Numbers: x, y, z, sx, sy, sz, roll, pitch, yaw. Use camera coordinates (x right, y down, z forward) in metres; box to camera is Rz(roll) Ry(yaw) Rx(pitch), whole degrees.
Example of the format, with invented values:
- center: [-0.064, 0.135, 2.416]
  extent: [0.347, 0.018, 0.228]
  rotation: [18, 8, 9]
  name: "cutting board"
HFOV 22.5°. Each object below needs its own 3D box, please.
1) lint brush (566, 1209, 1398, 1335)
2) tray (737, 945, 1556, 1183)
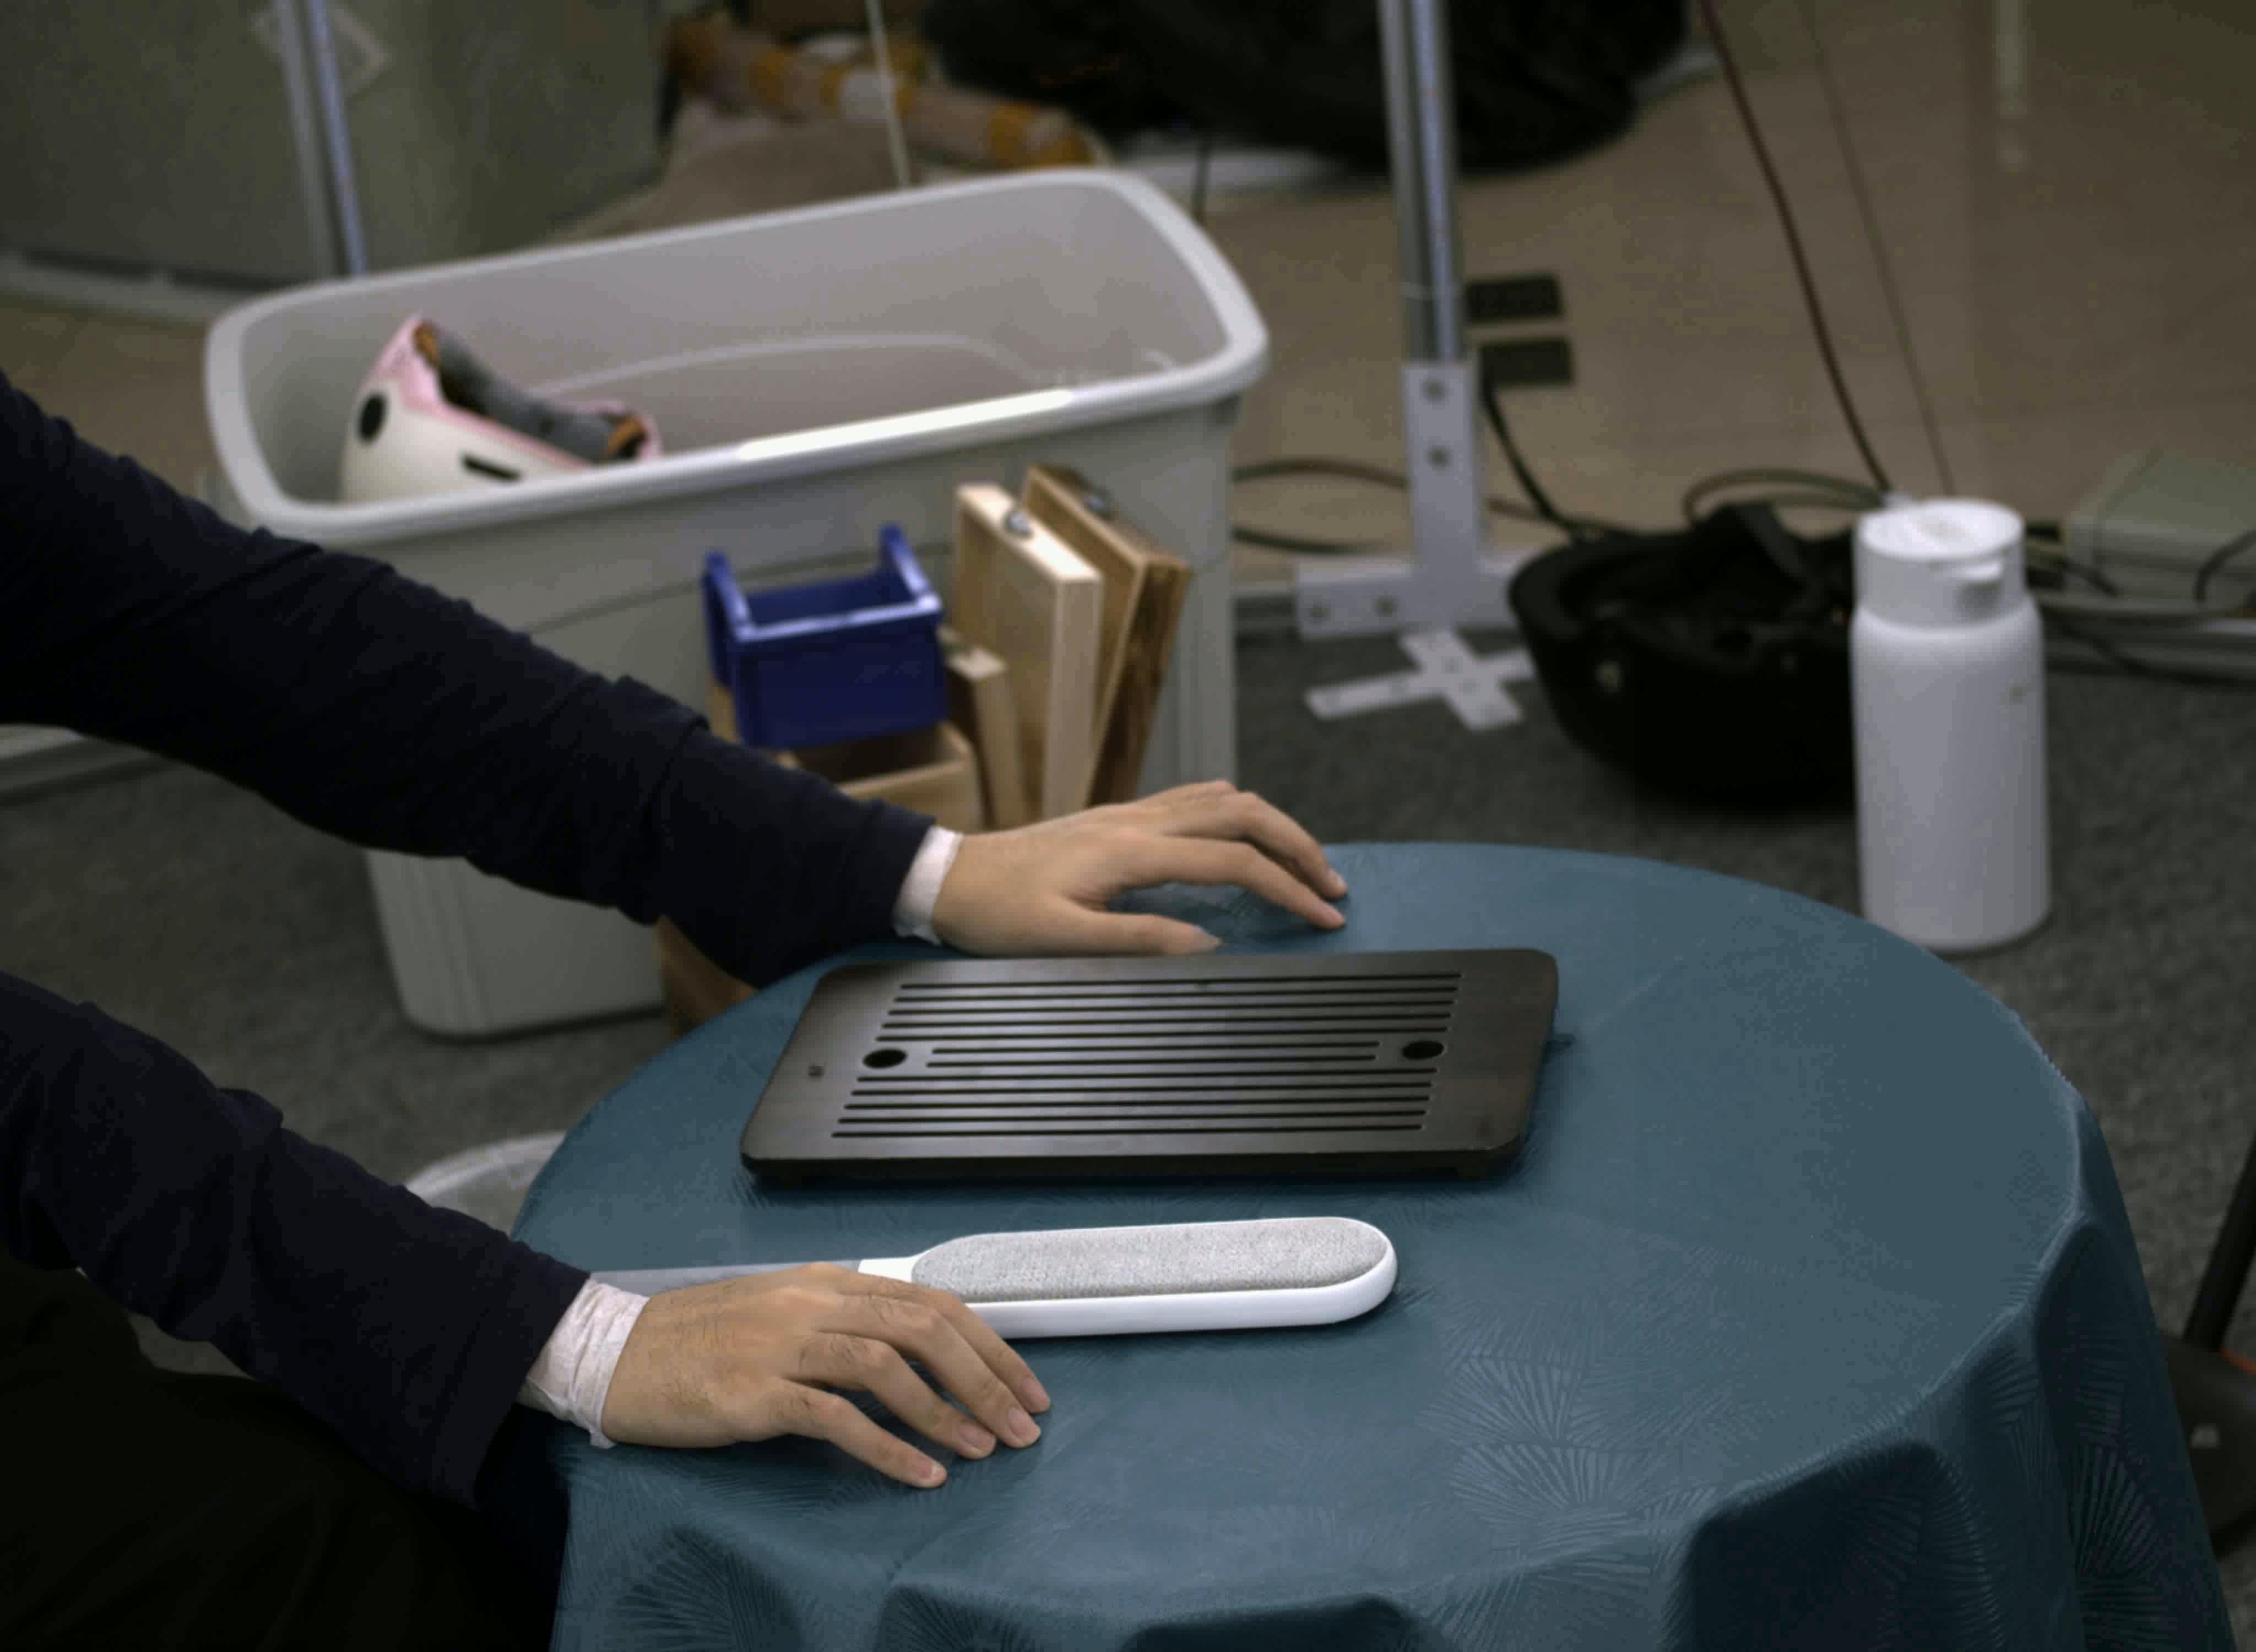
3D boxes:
- center: [-0.055, 0.165, 2.077]
  extent: [0.308, 0.021, 0.059]
  rotation: [-3, 31, 8]
  name: "lint brush"
- center: [0.010, 0.094, 2.225]
  extent: [0.305, 0.019, 0.167]
  rotation: [-2, 25, 11]
  name: "tray"
